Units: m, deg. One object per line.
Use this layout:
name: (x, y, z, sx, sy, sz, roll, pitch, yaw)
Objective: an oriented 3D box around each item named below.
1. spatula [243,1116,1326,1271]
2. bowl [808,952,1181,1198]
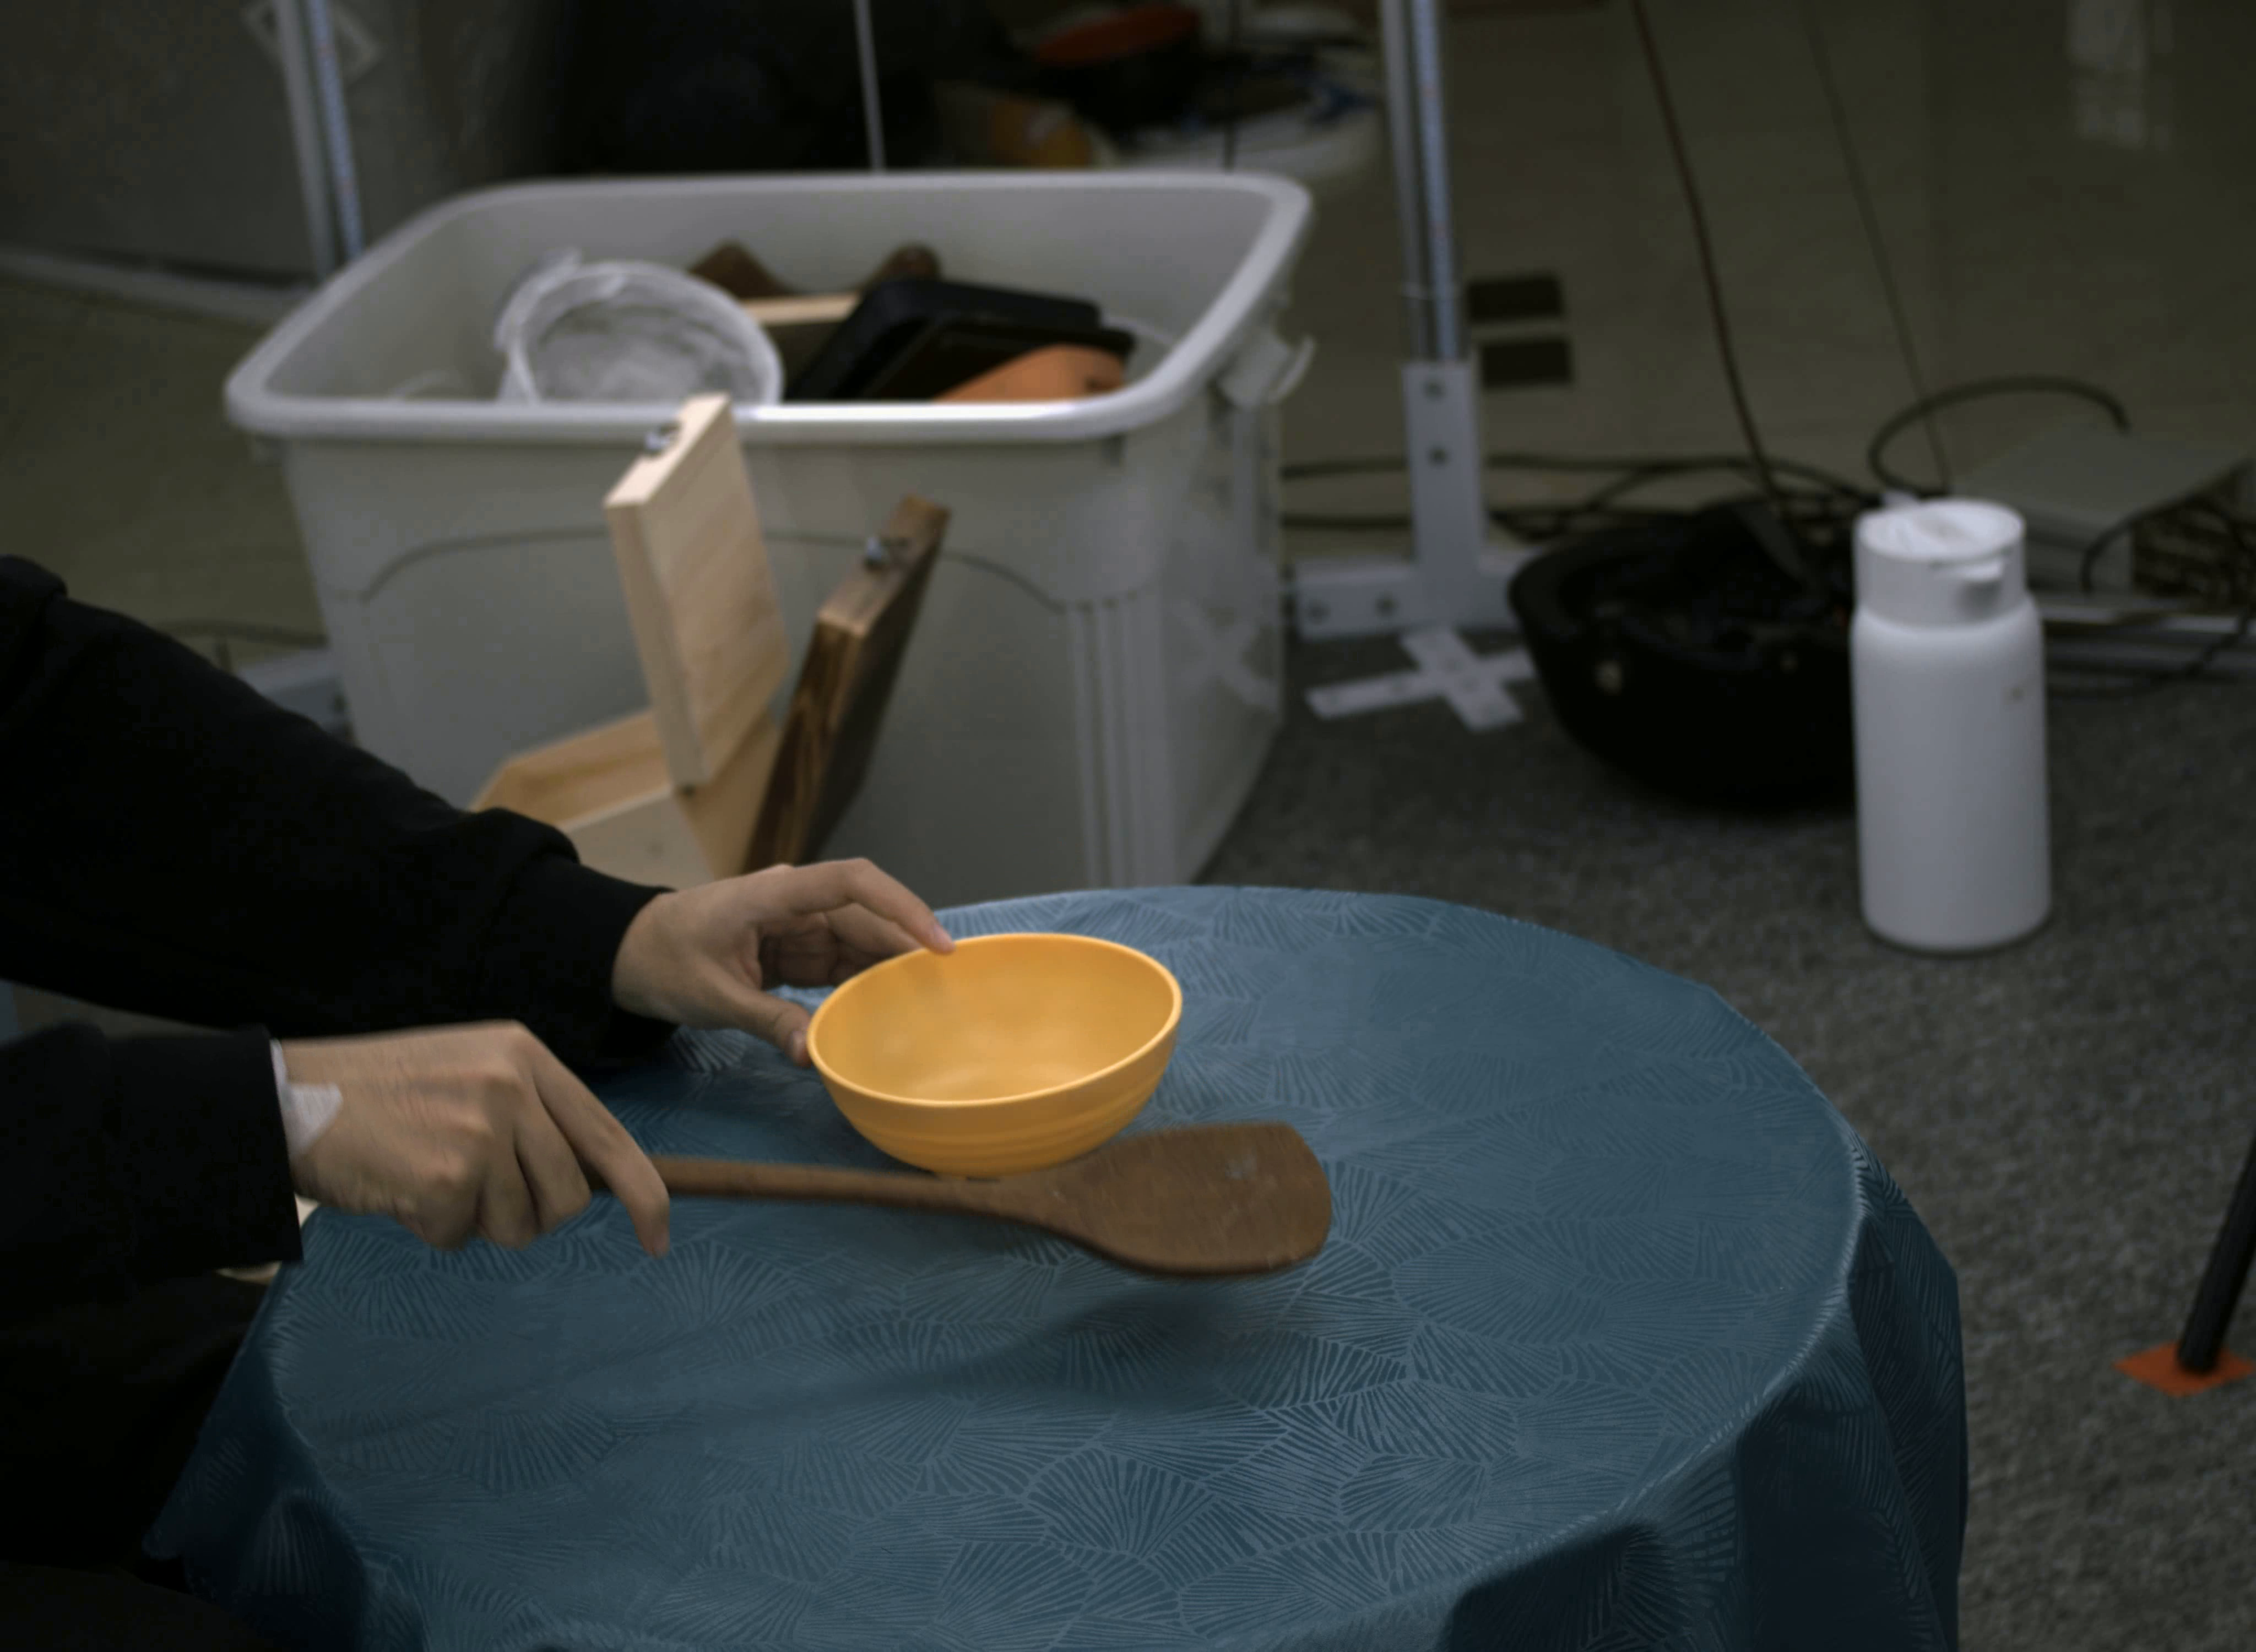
spatula: (-0.121, 0.124, 2.019, 0.385, 0.016, 0.094, 3, 30, -6)
bowl: (-0.048, 0.102, 2.179, 0.145, 0.061, 0.143, -6, 22, 3)
